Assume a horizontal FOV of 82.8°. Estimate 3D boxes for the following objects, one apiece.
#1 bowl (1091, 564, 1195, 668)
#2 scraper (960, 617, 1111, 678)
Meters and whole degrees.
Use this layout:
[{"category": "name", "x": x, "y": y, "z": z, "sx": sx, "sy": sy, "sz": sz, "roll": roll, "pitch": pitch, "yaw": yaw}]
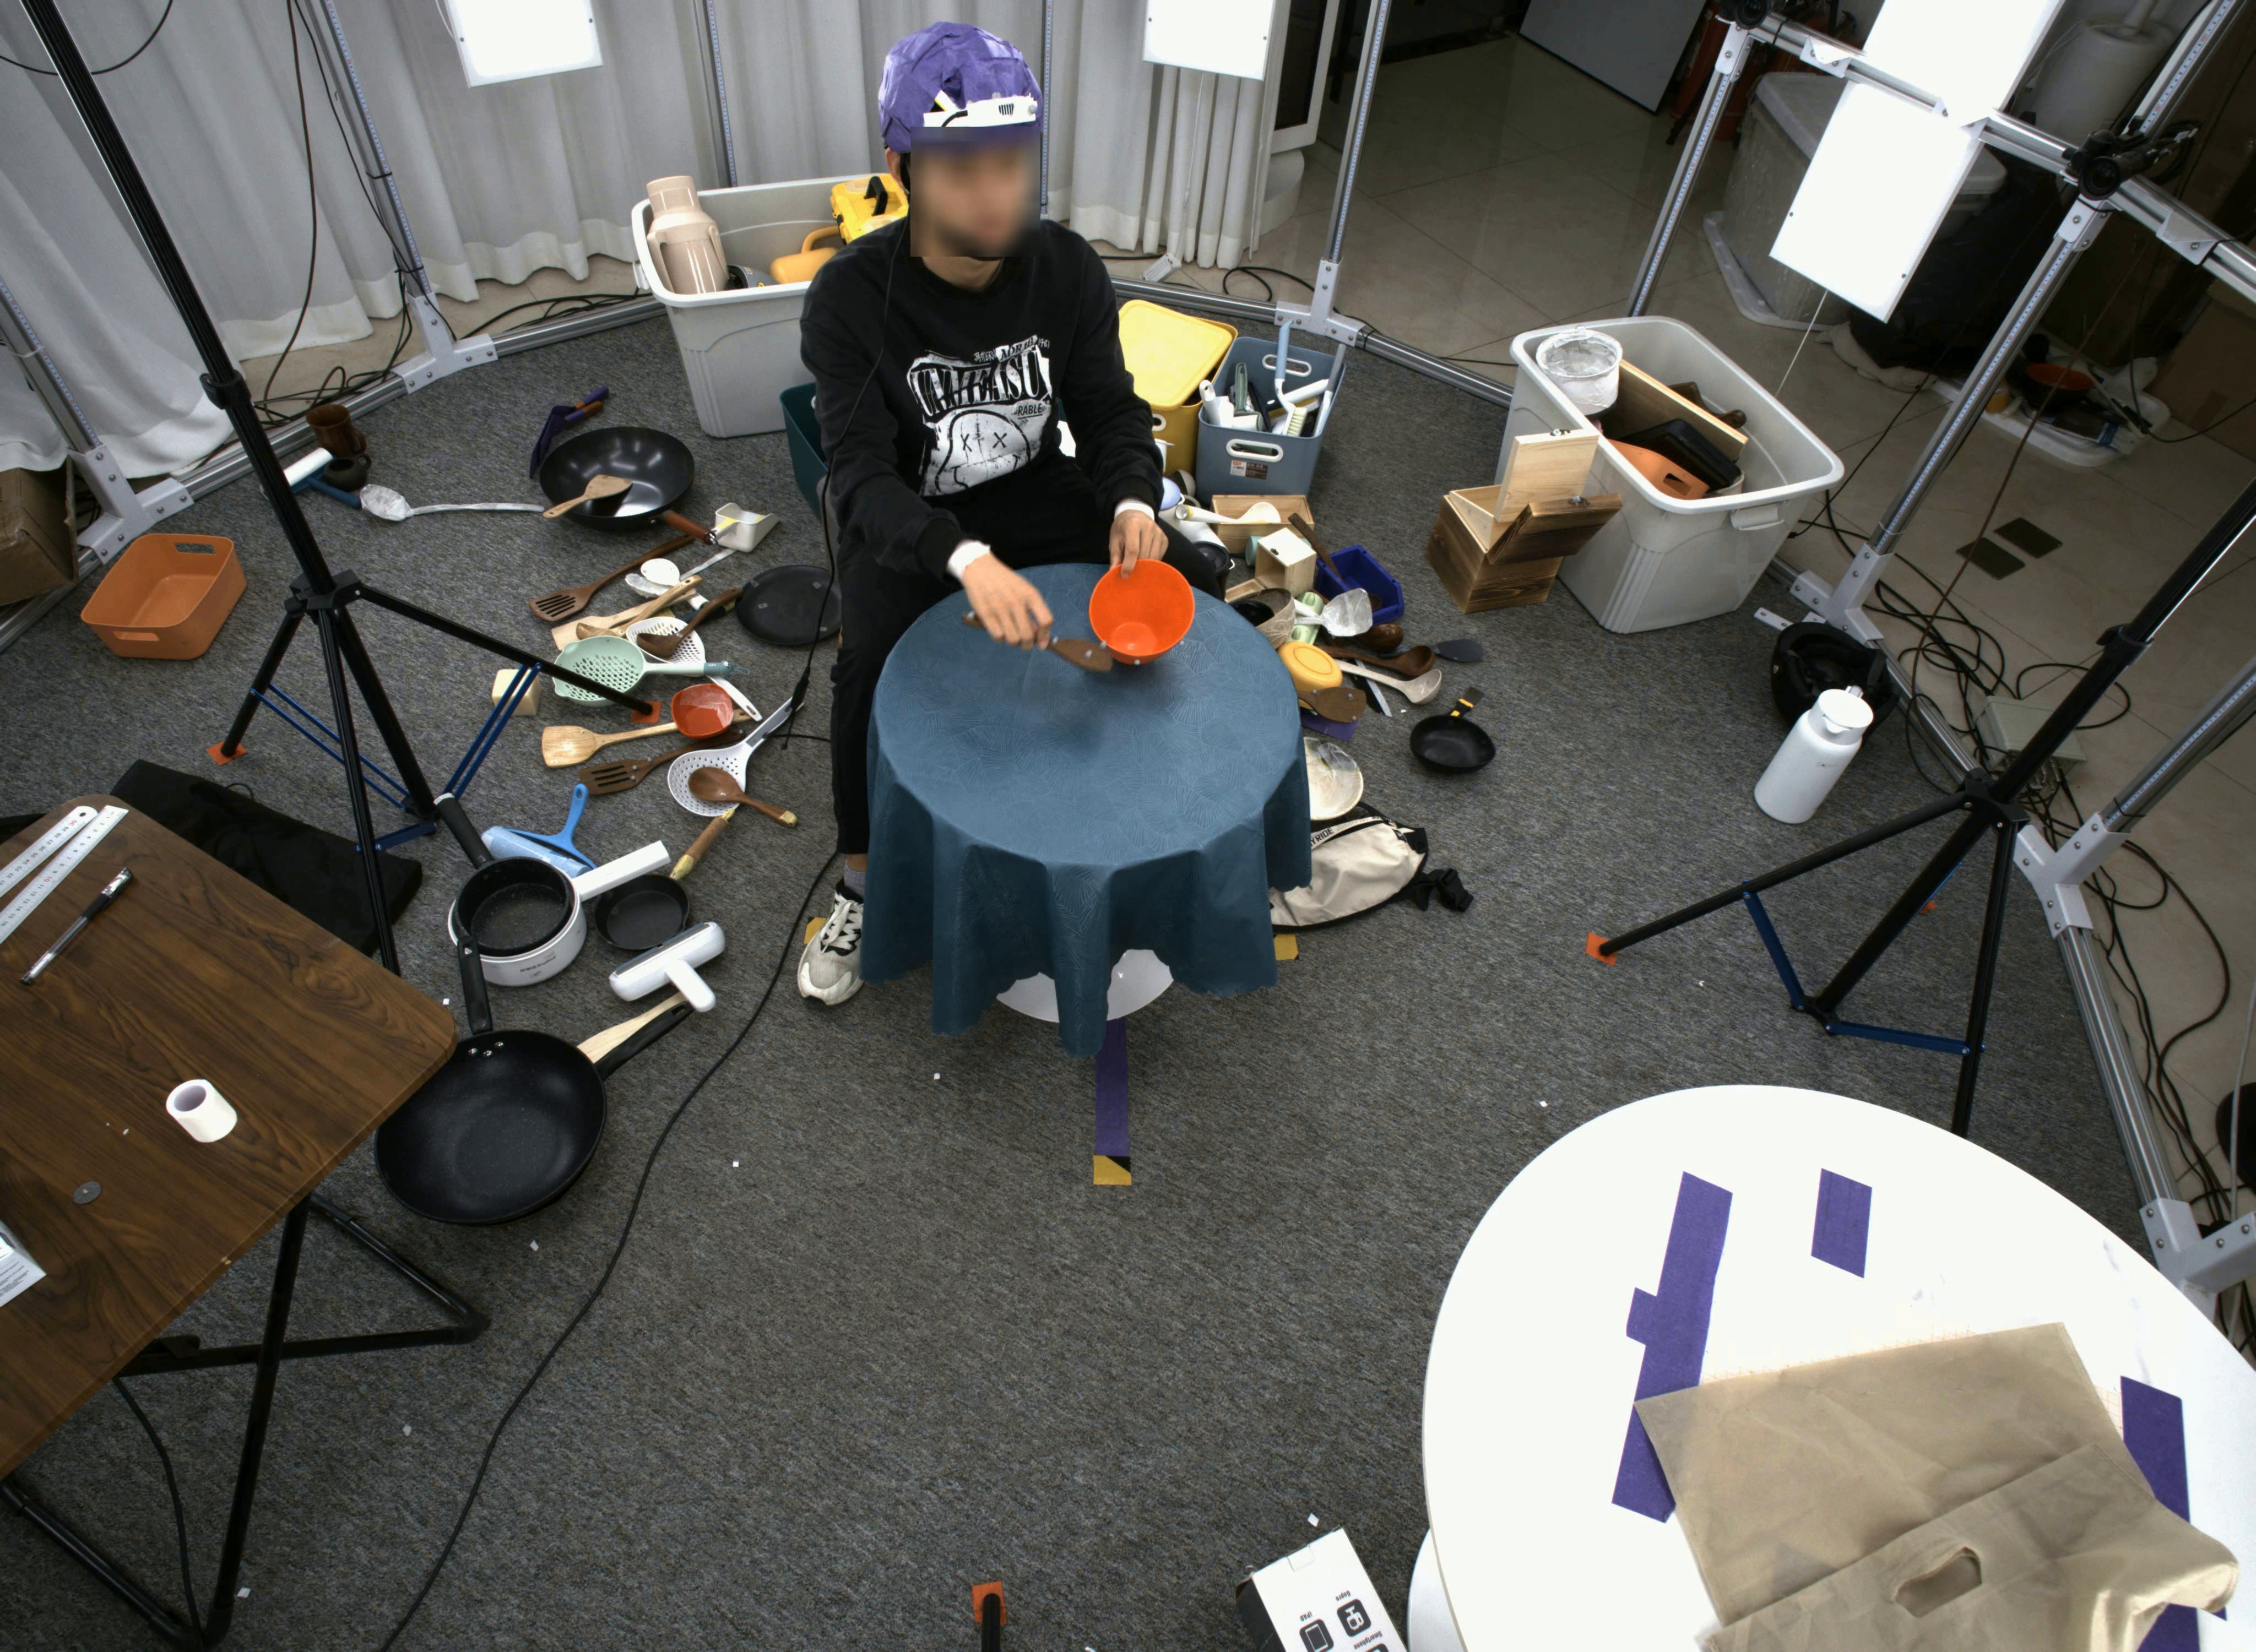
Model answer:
[{"category": "bowl", "x": 0.019, "y": -0.290, "z": 1.863, "sx": 0.148, "sy": 0.103, "sz": 0.151, "roll": 1, "pitch": 66, "yaw": -2}, {"category": "scraper", "x": -0.124, "y": -0.246, "z": 1.742, "sx": 0.210, "sy": 0.010, "sz": 0.077, "roll": 15, "pitch": 34, "yaw": -12}]
